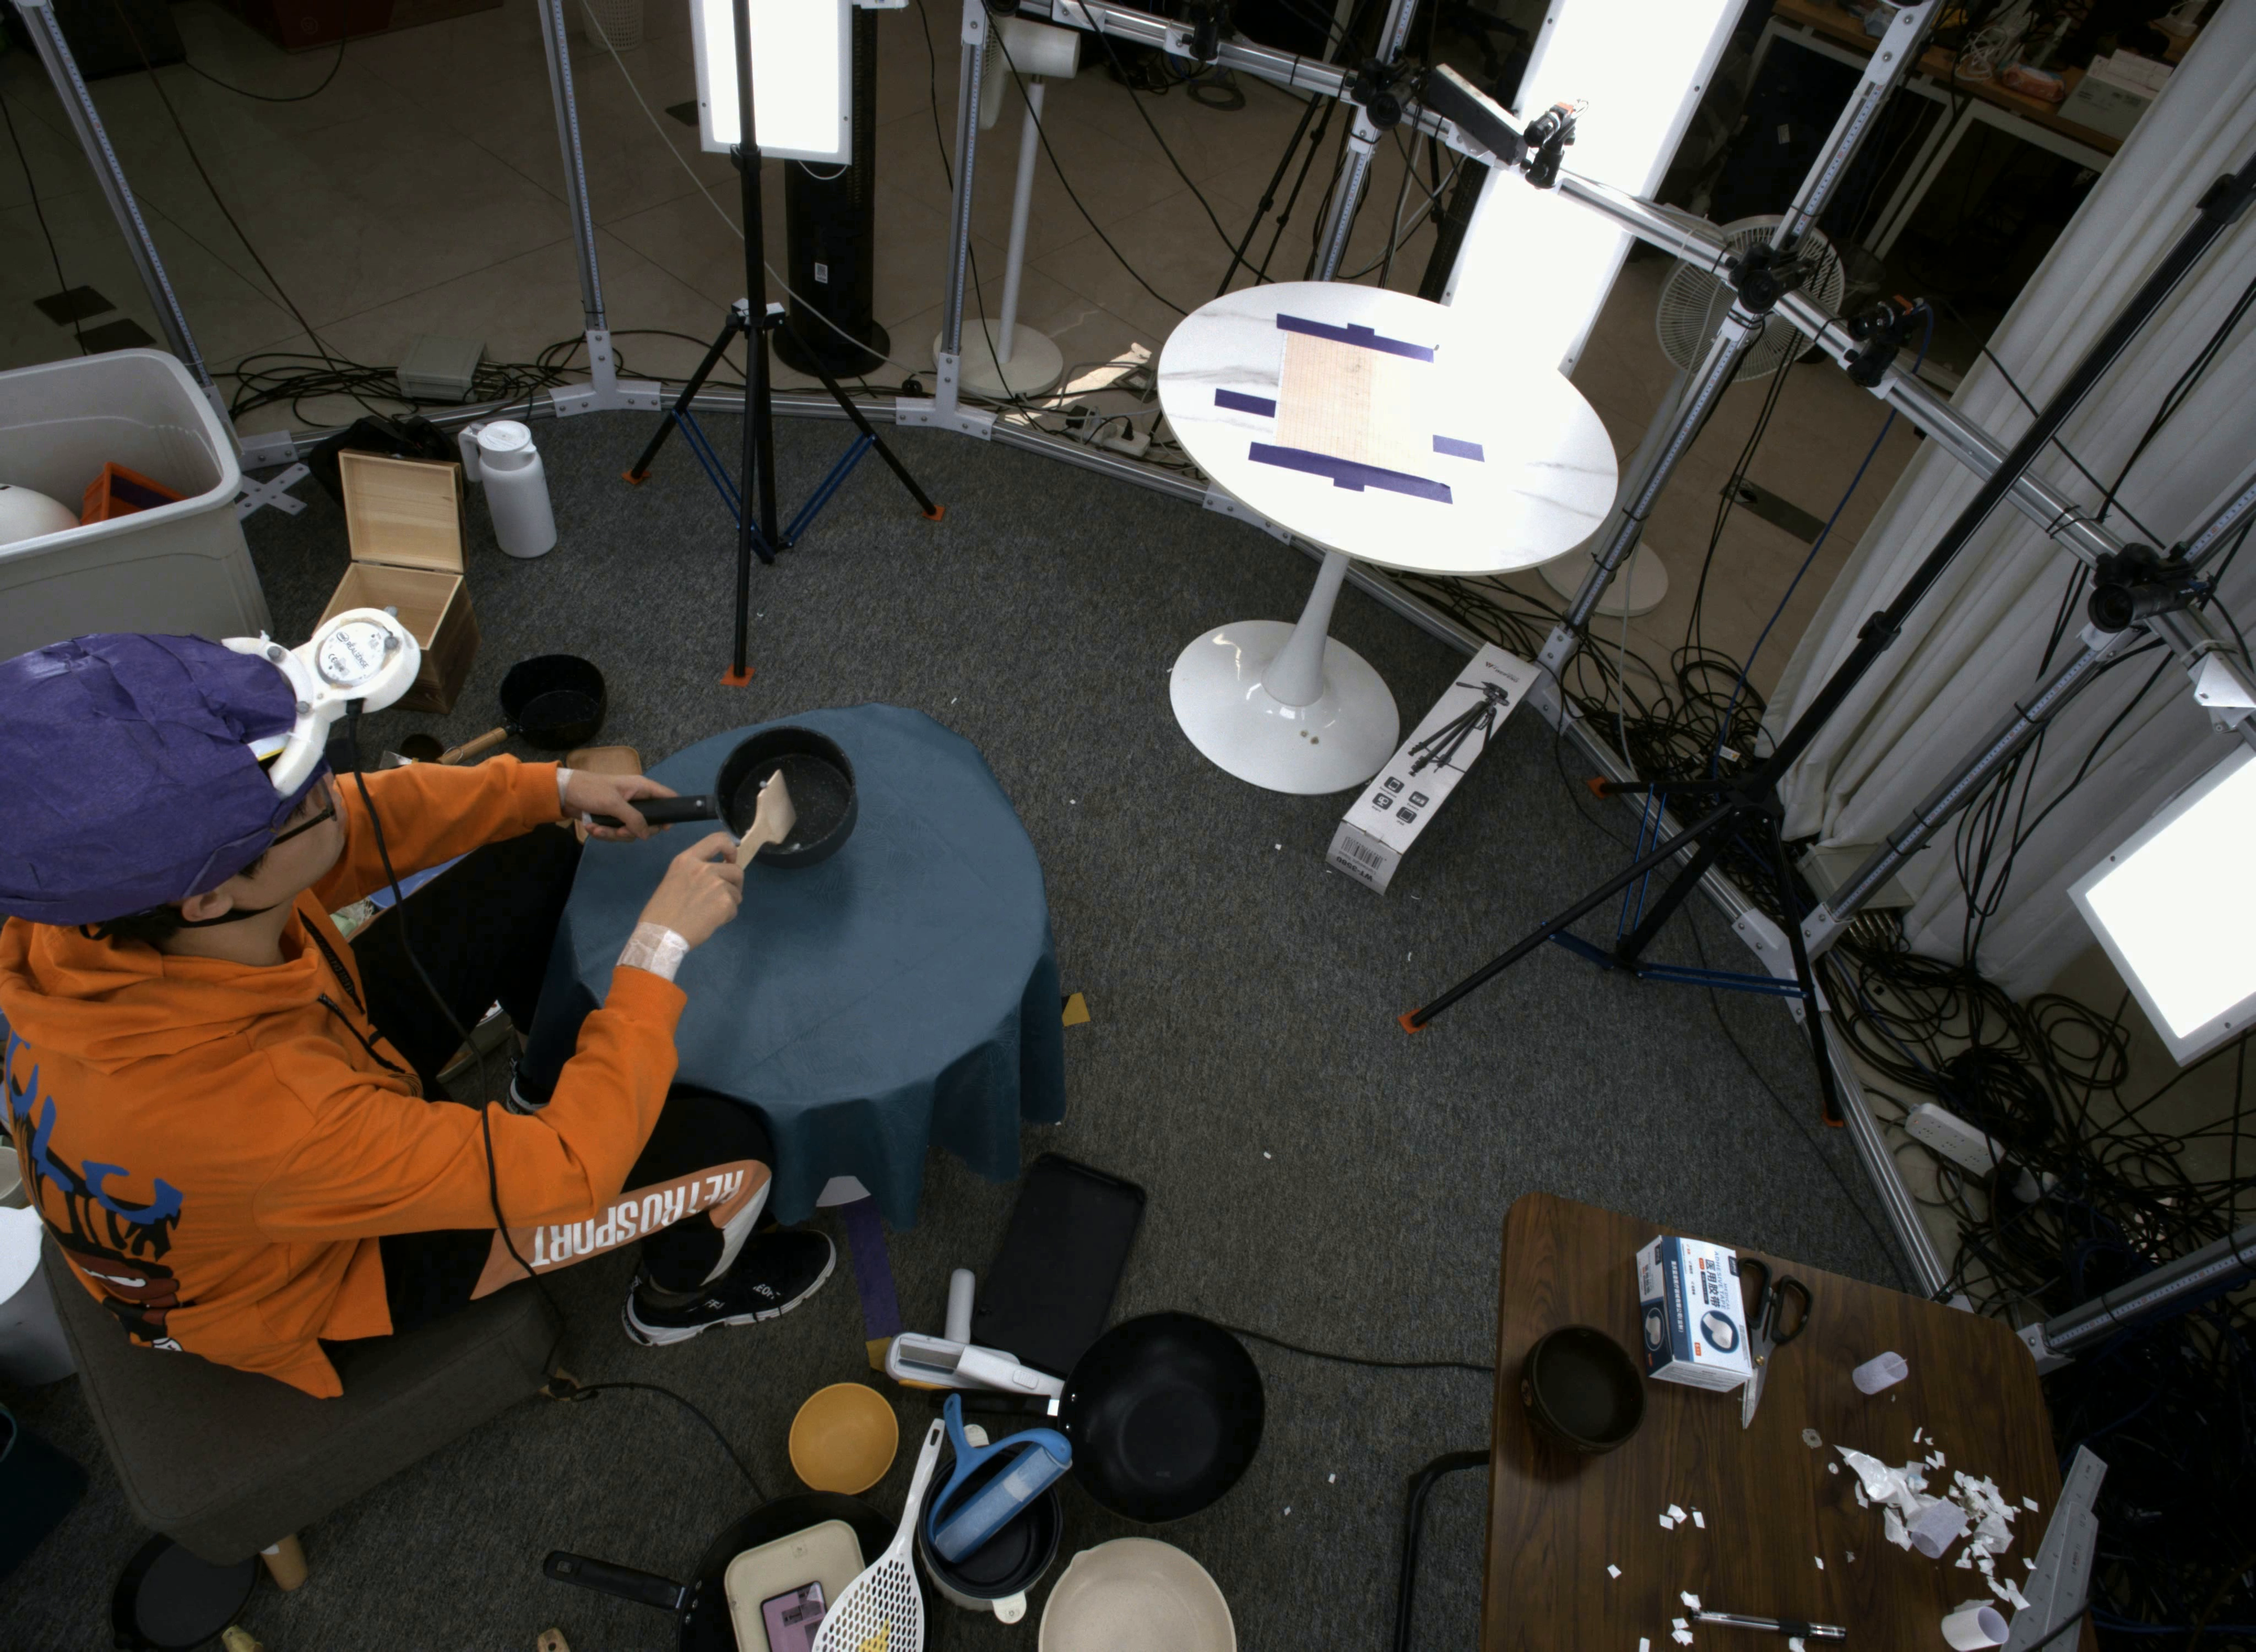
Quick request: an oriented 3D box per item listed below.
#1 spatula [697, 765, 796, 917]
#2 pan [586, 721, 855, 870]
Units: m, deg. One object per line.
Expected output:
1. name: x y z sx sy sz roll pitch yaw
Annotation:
1. spatula: -0.433 0.018 1.474 0.010 0.075 0.288 -7 26 9
2. pan: -0.500 -0.027 1.588 0.328 0.087 0.170 -6 70 -11
